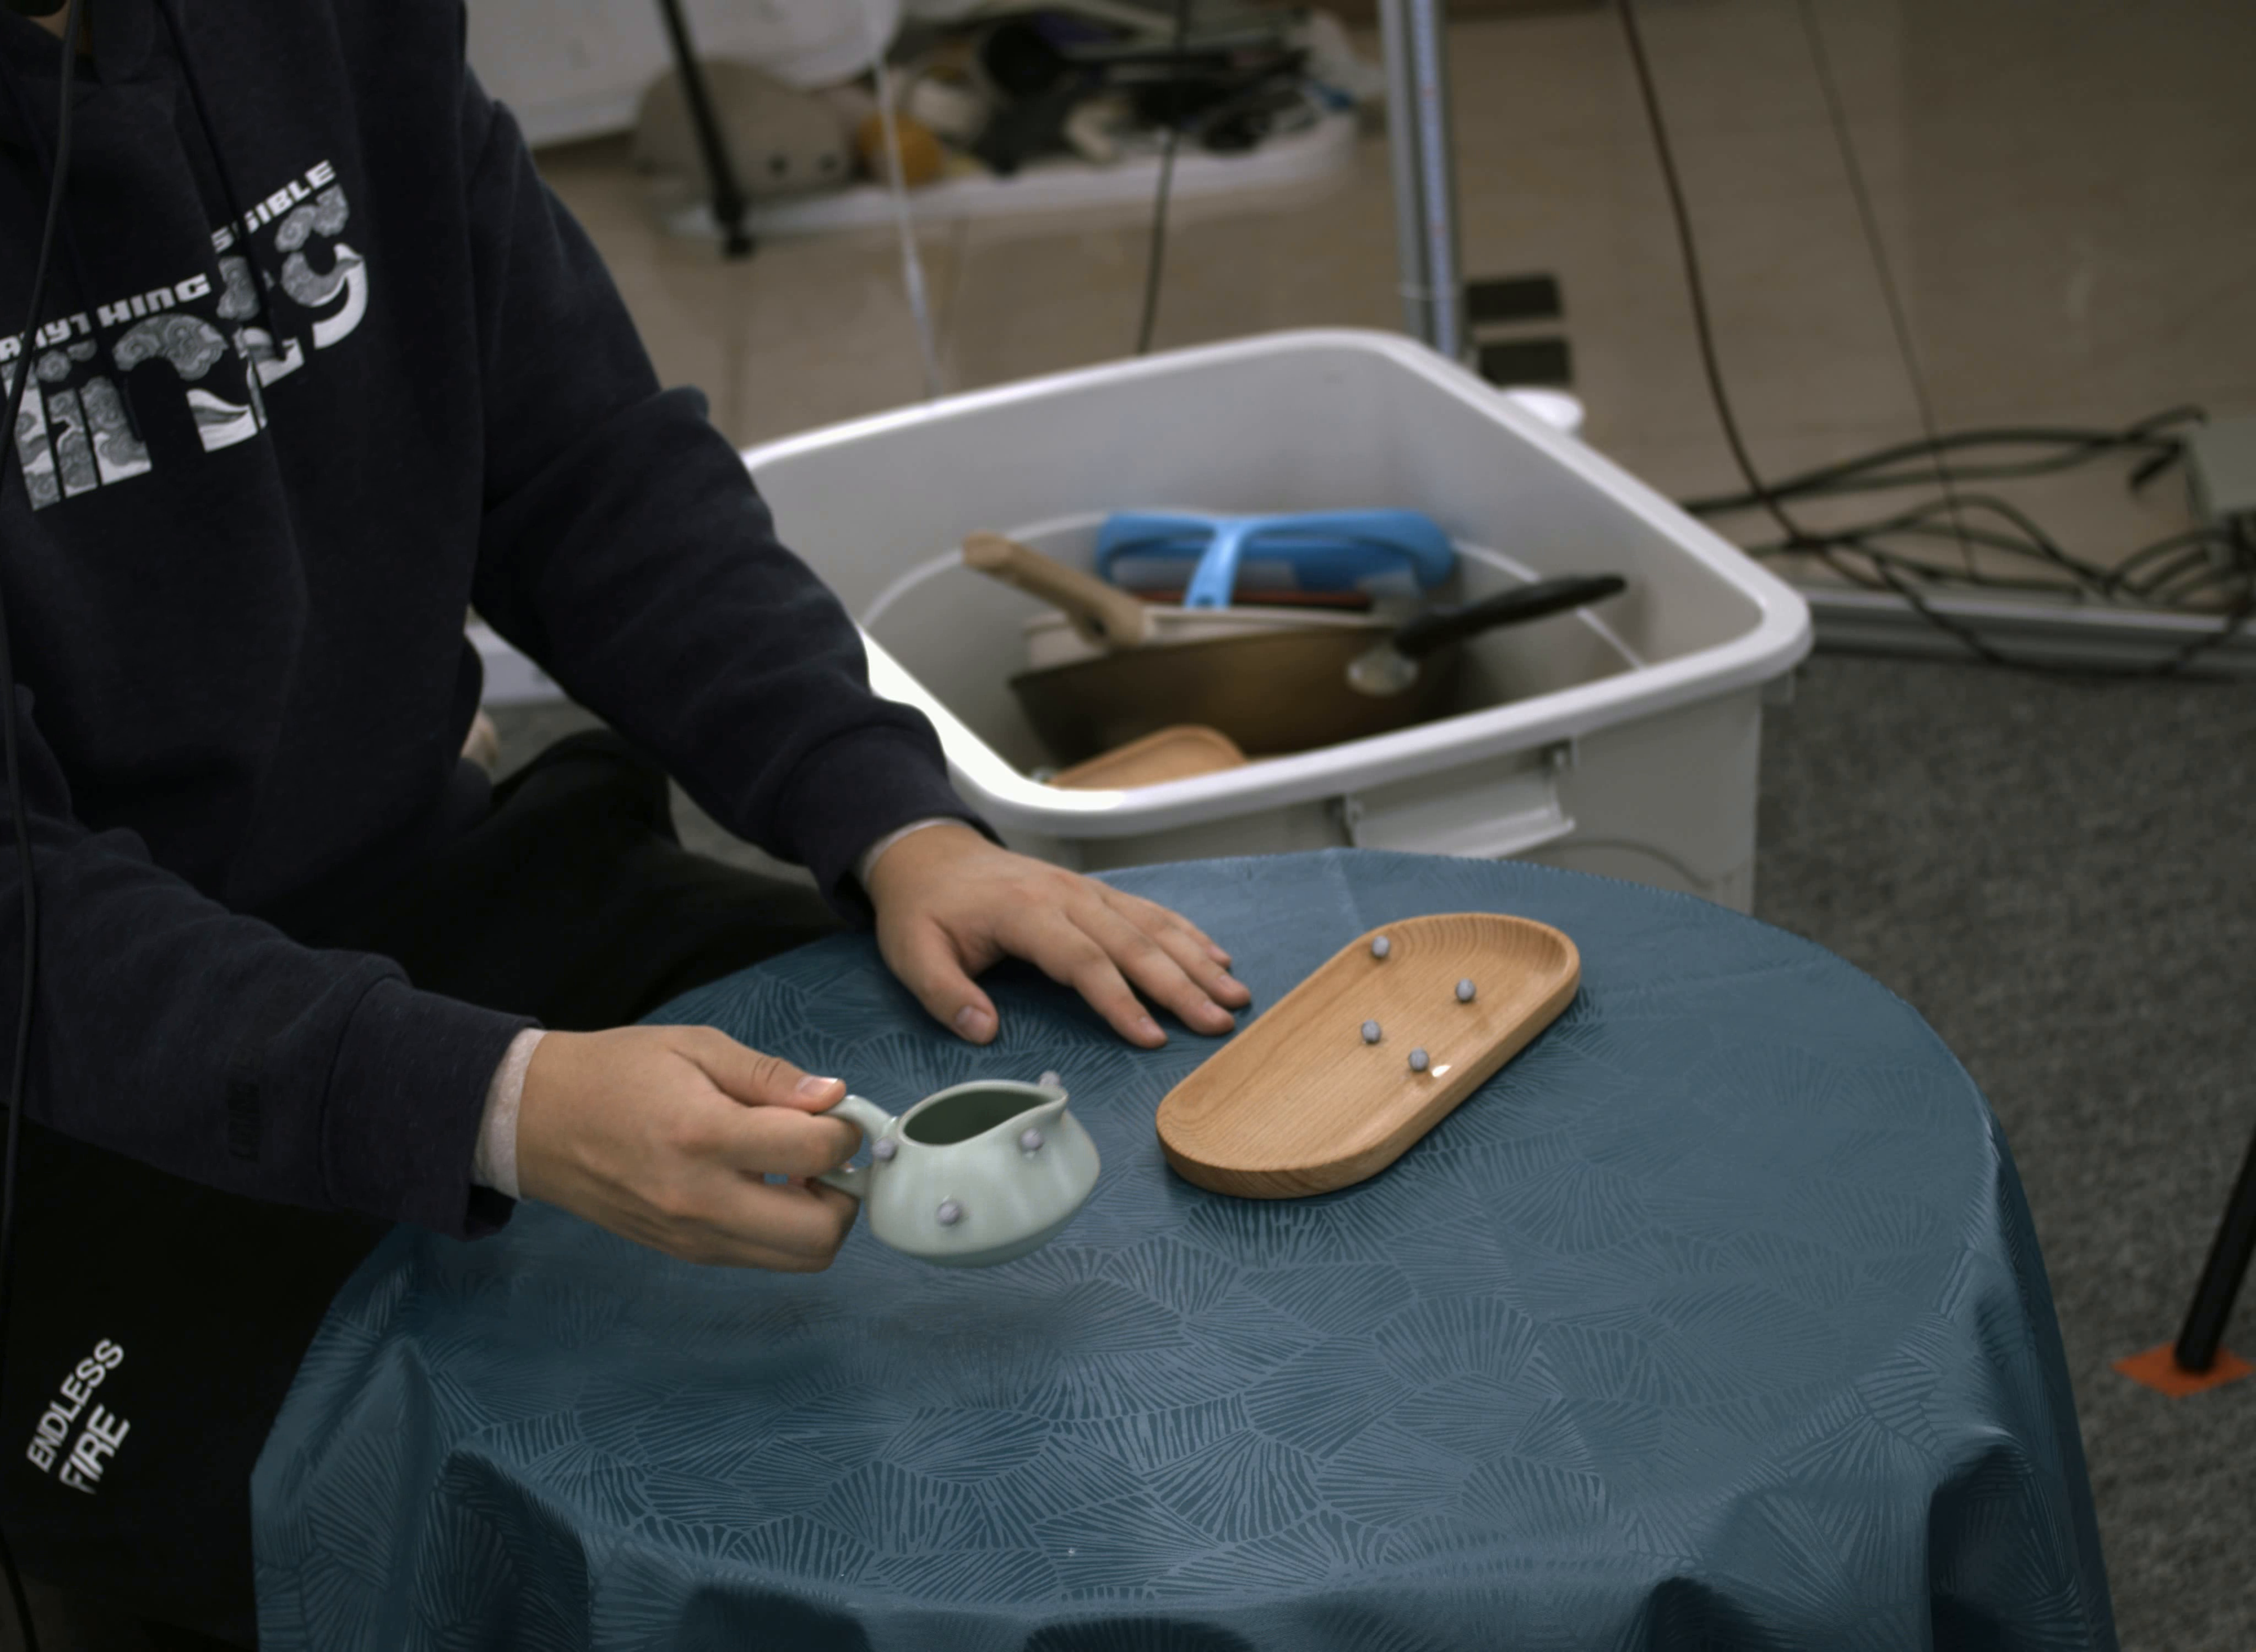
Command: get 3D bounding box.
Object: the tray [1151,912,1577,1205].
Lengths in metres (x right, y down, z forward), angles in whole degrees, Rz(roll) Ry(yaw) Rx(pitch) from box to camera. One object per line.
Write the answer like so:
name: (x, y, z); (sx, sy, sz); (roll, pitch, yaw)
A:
tray: (0.094, 0.089, 2.215); (0.101, 0.020, 0.228); (8, 30, 32)

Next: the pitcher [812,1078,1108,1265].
pitcher: (-0.062, 0.122, 2.038); (0.108, 0.061, 0.085); (-7, 24, 20)
